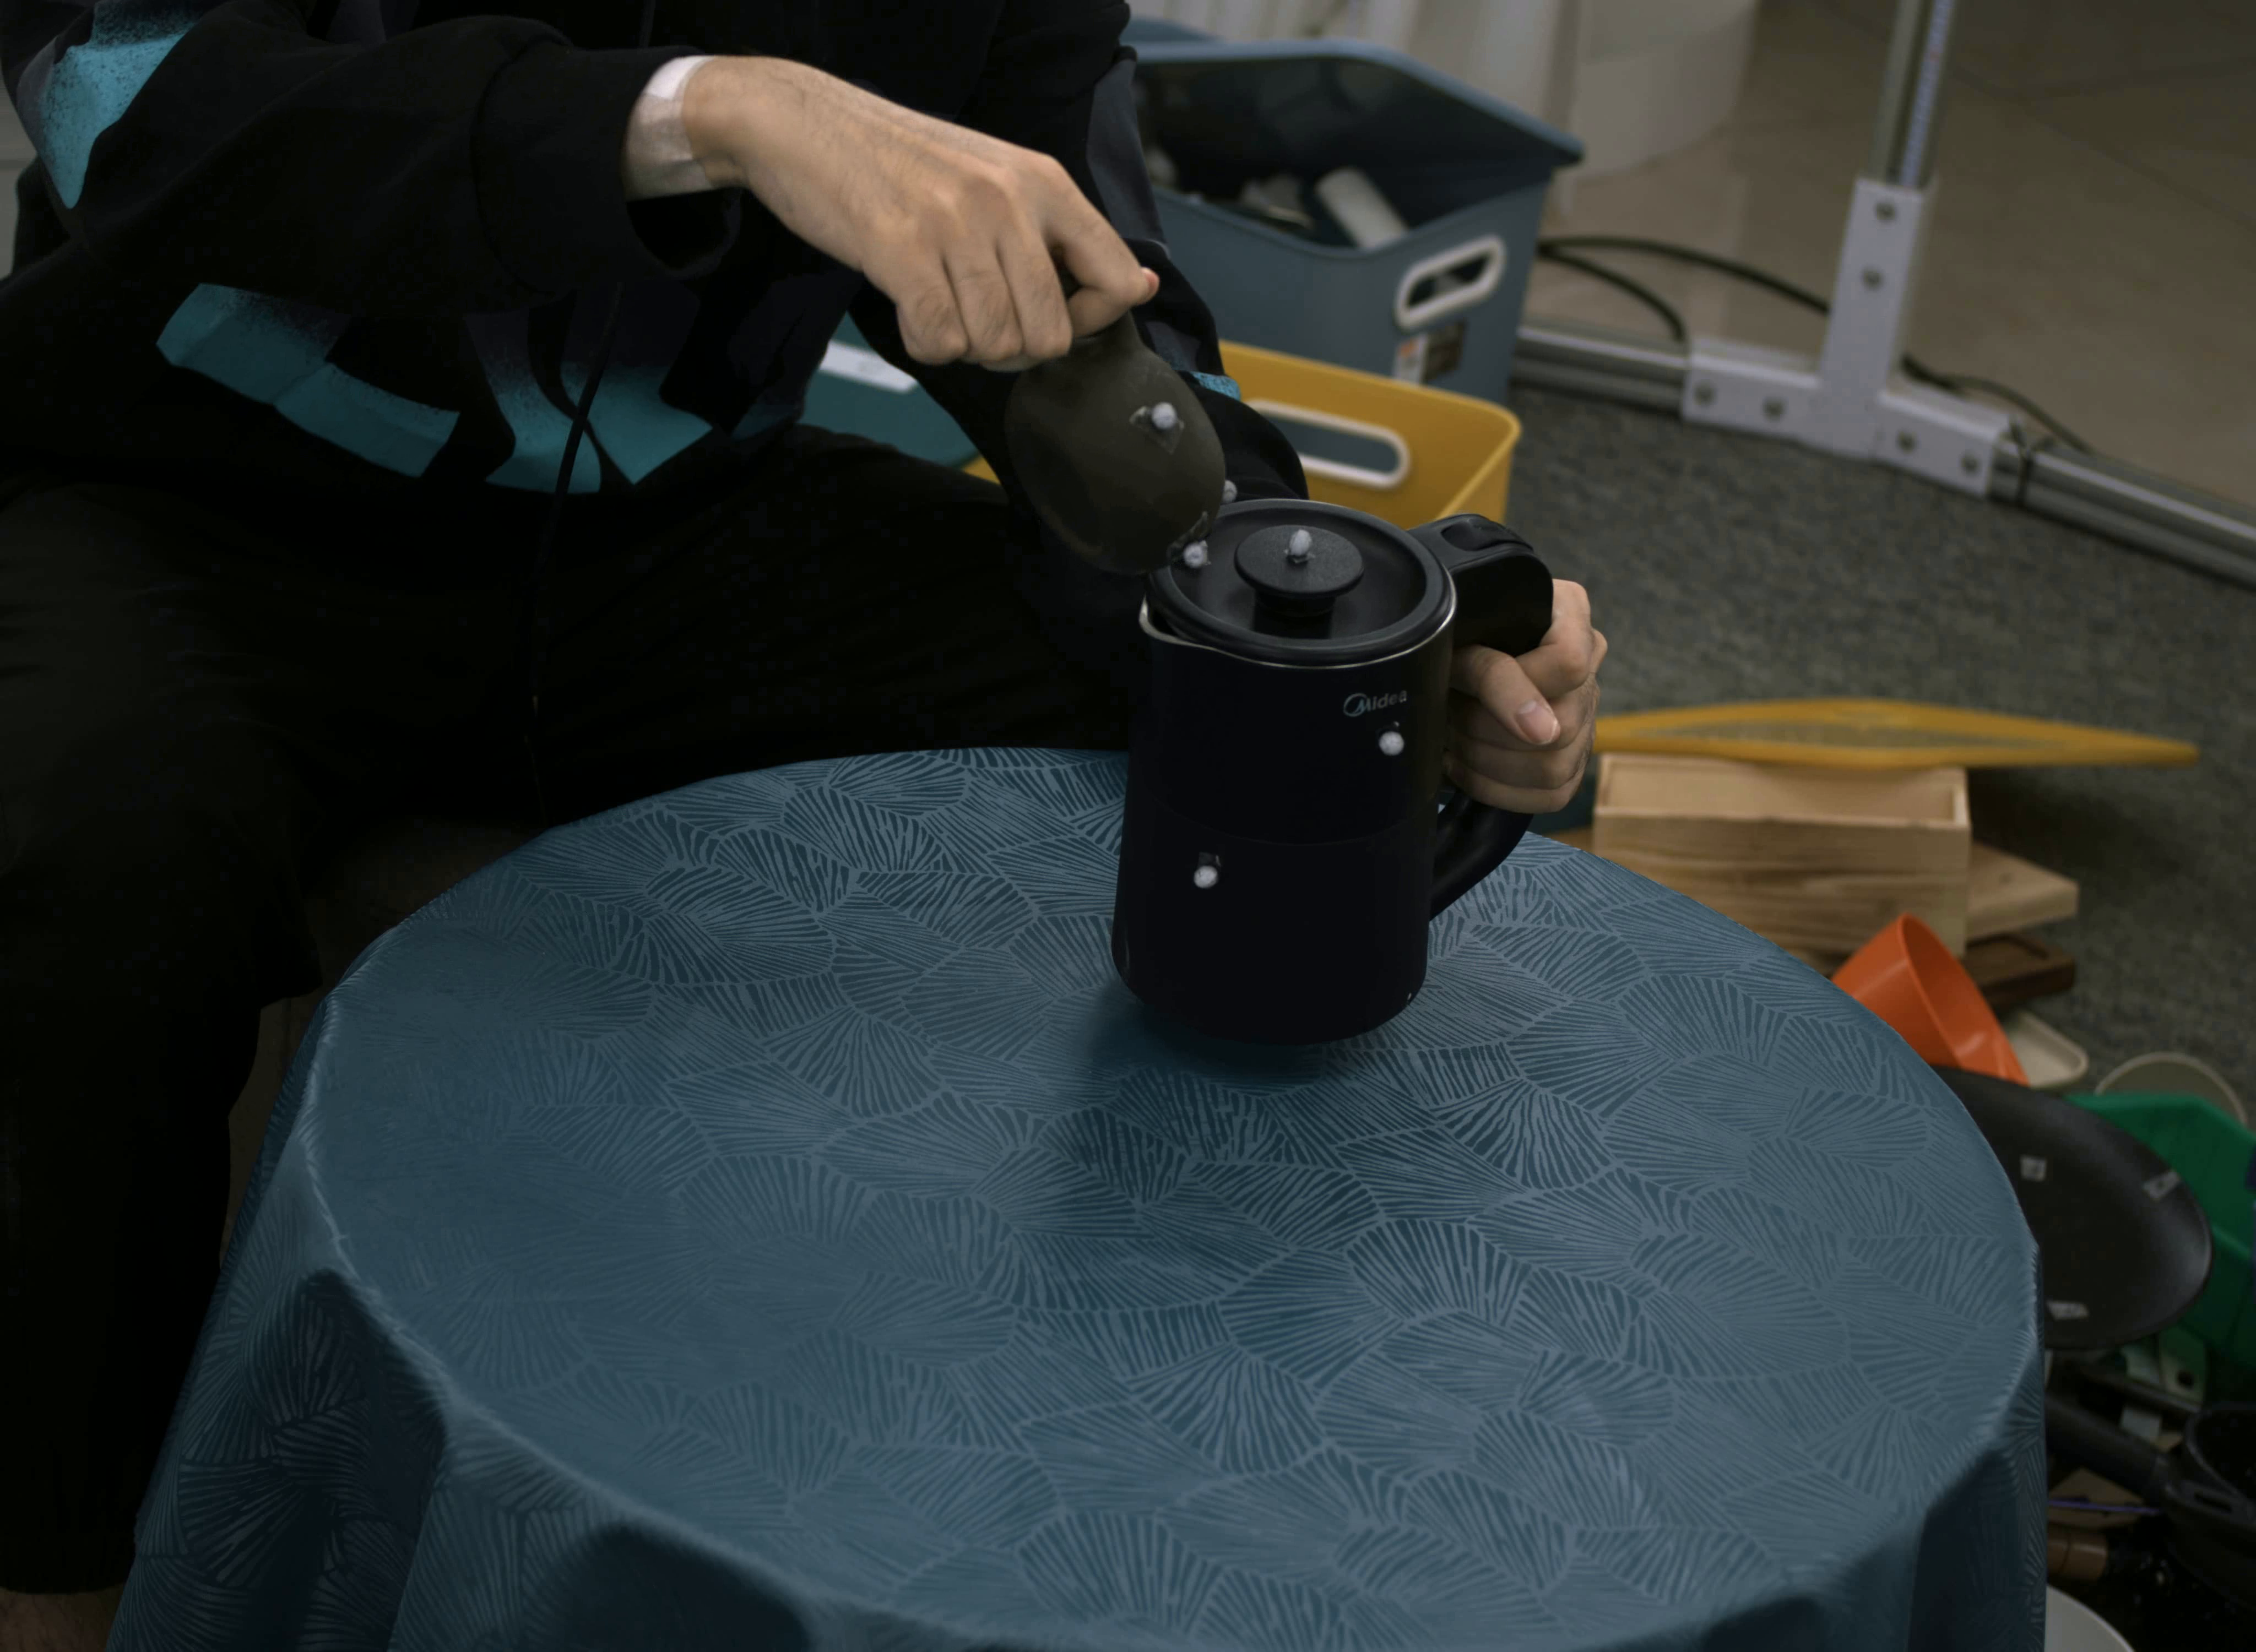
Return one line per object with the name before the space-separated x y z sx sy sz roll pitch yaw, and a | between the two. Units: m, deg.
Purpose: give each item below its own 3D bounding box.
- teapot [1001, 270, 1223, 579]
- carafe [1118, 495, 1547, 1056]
teapot | -0.009 -0.133 1.766 0.053 0.113 0.083 -31 26 -19
carafe | 0.073 -0.030 1.878 0.171 0.172 0.115 -20 37 -29
